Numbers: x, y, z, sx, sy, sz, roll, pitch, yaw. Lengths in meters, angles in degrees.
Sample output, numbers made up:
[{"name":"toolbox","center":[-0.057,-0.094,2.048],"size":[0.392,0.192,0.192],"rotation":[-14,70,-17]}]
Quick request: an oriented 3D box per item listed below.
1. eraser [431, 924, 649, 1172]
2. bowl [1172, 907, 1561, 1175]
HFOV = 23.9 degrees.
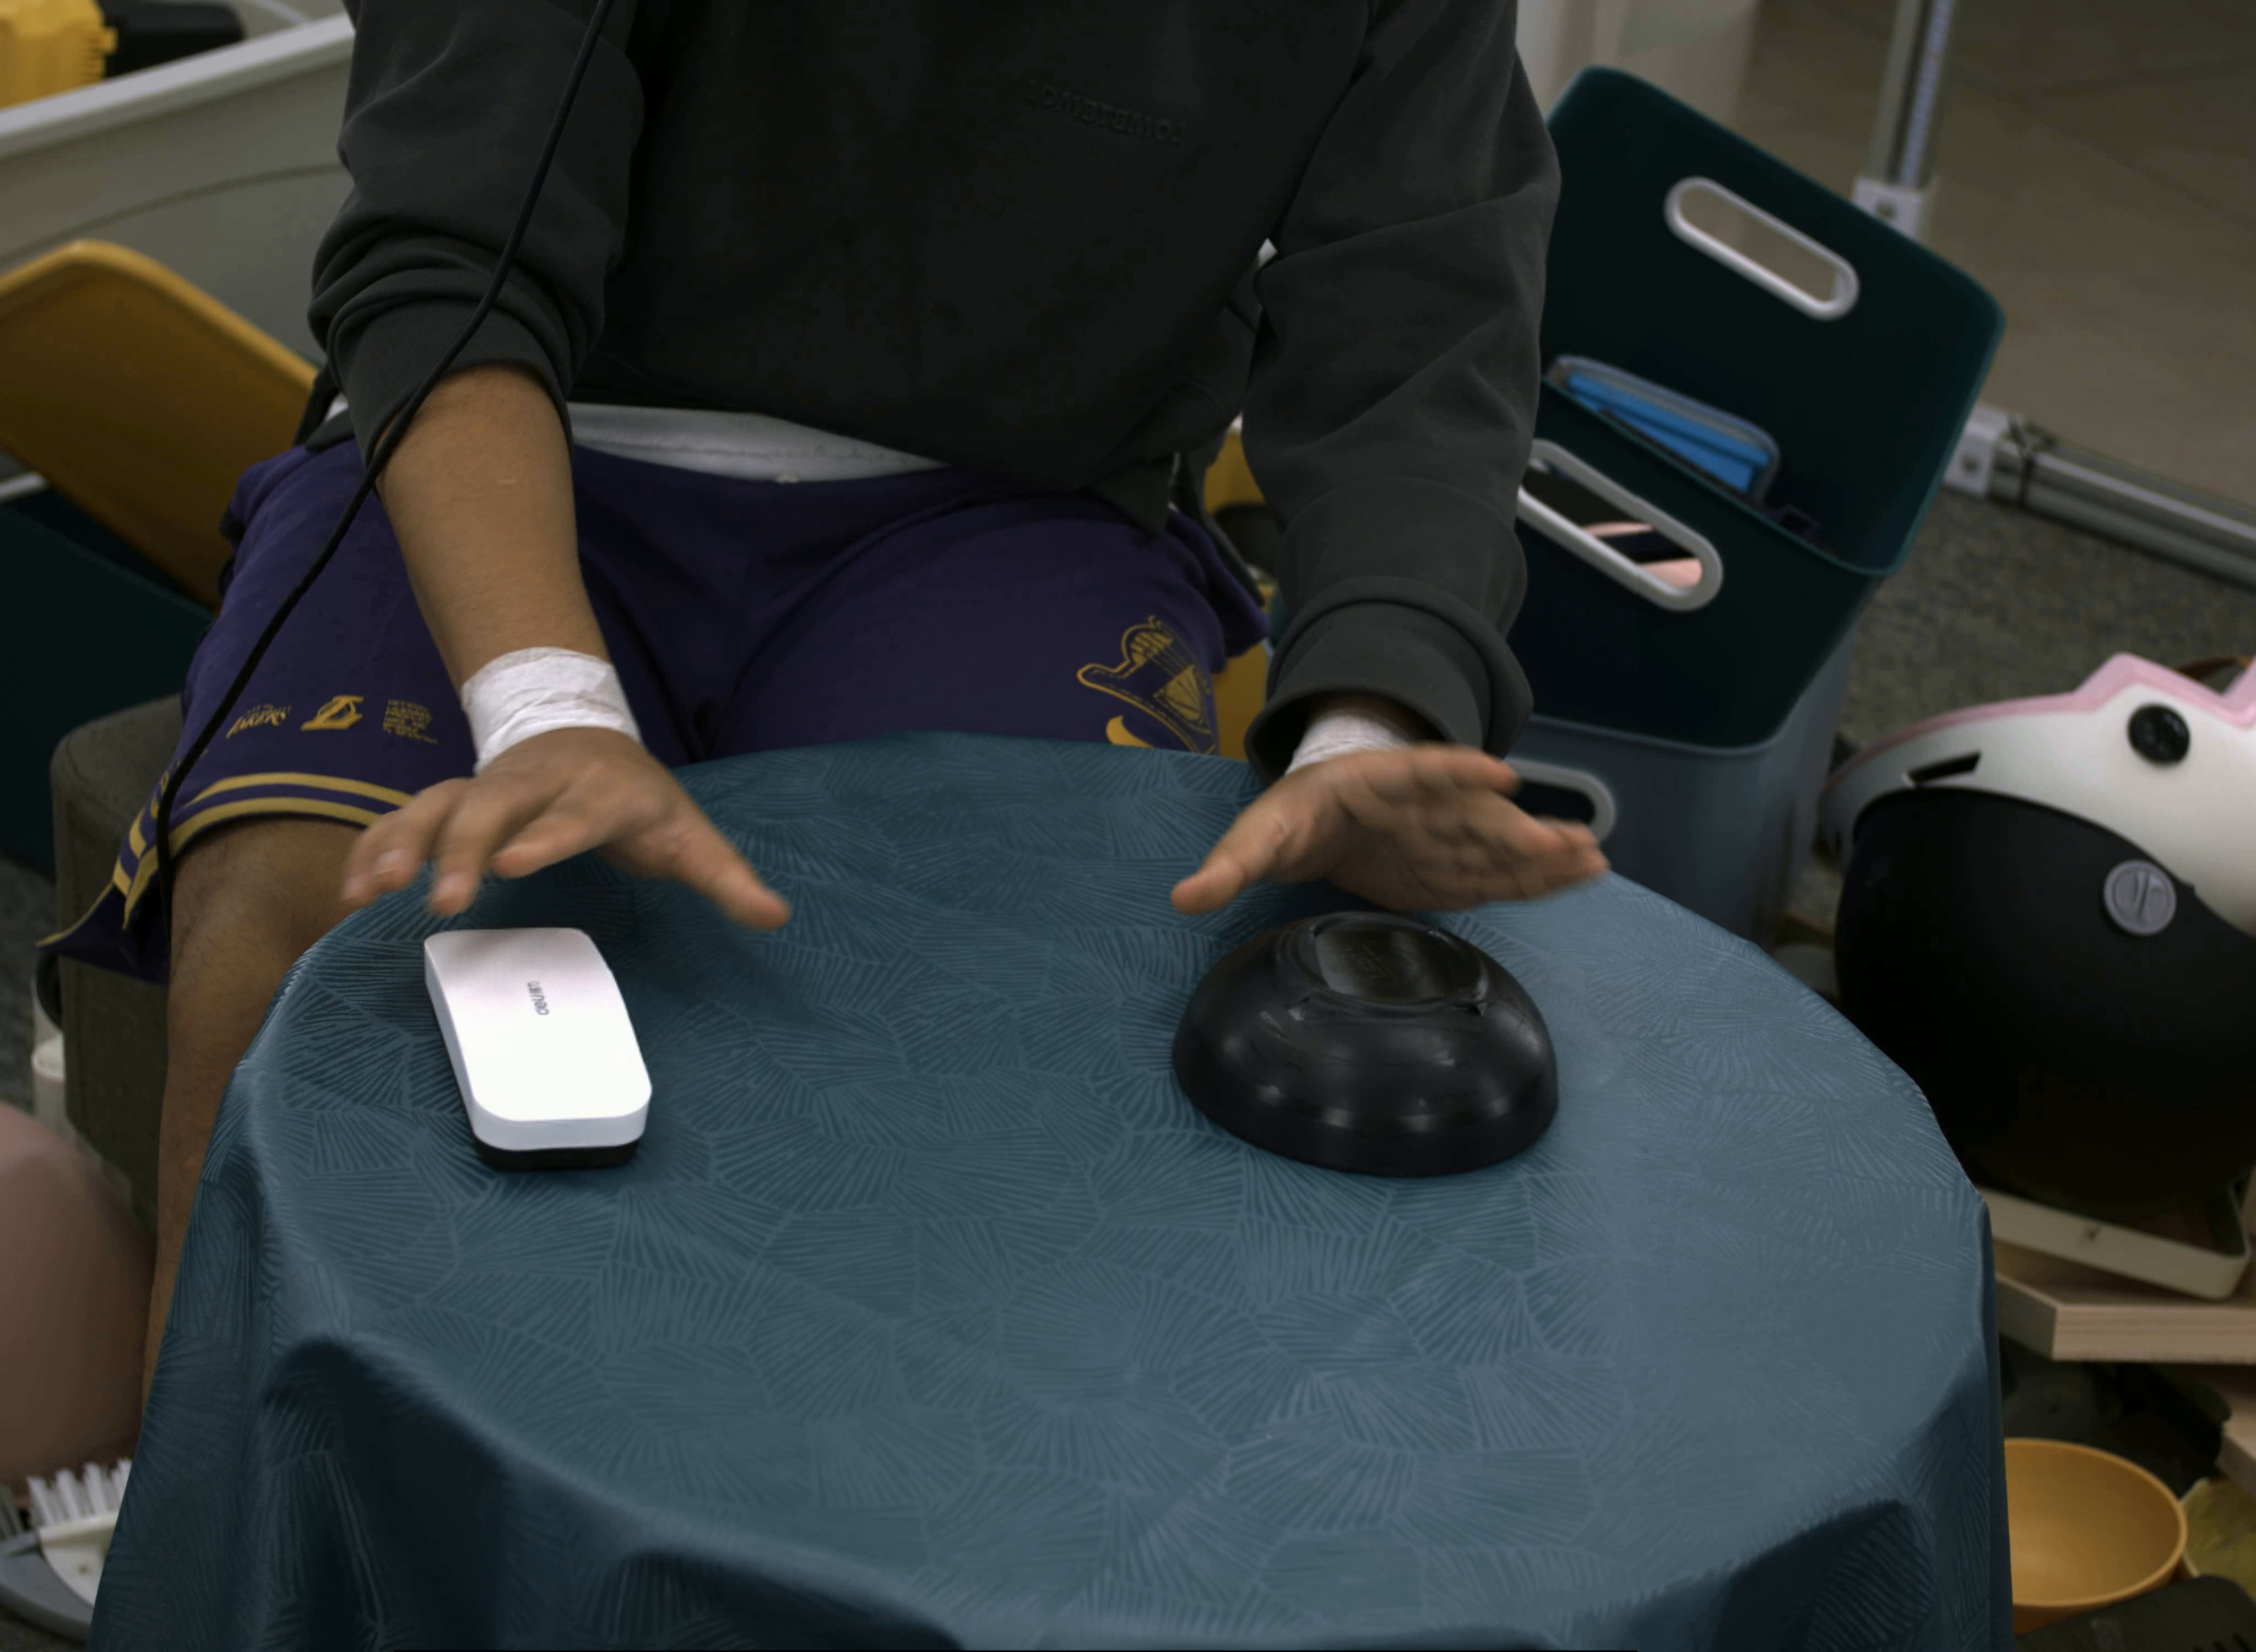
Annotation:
[{"name":"eraser","center":[-0.201,0.072,1.822],"size":[0.063,0.034,0.132],"rotation":[0,29,-15]},{"name":"bowl","center":[0.086,0.066,1.876],"size":[0.139,0.049,0.141],"rotation":[4,28,-3]}]
